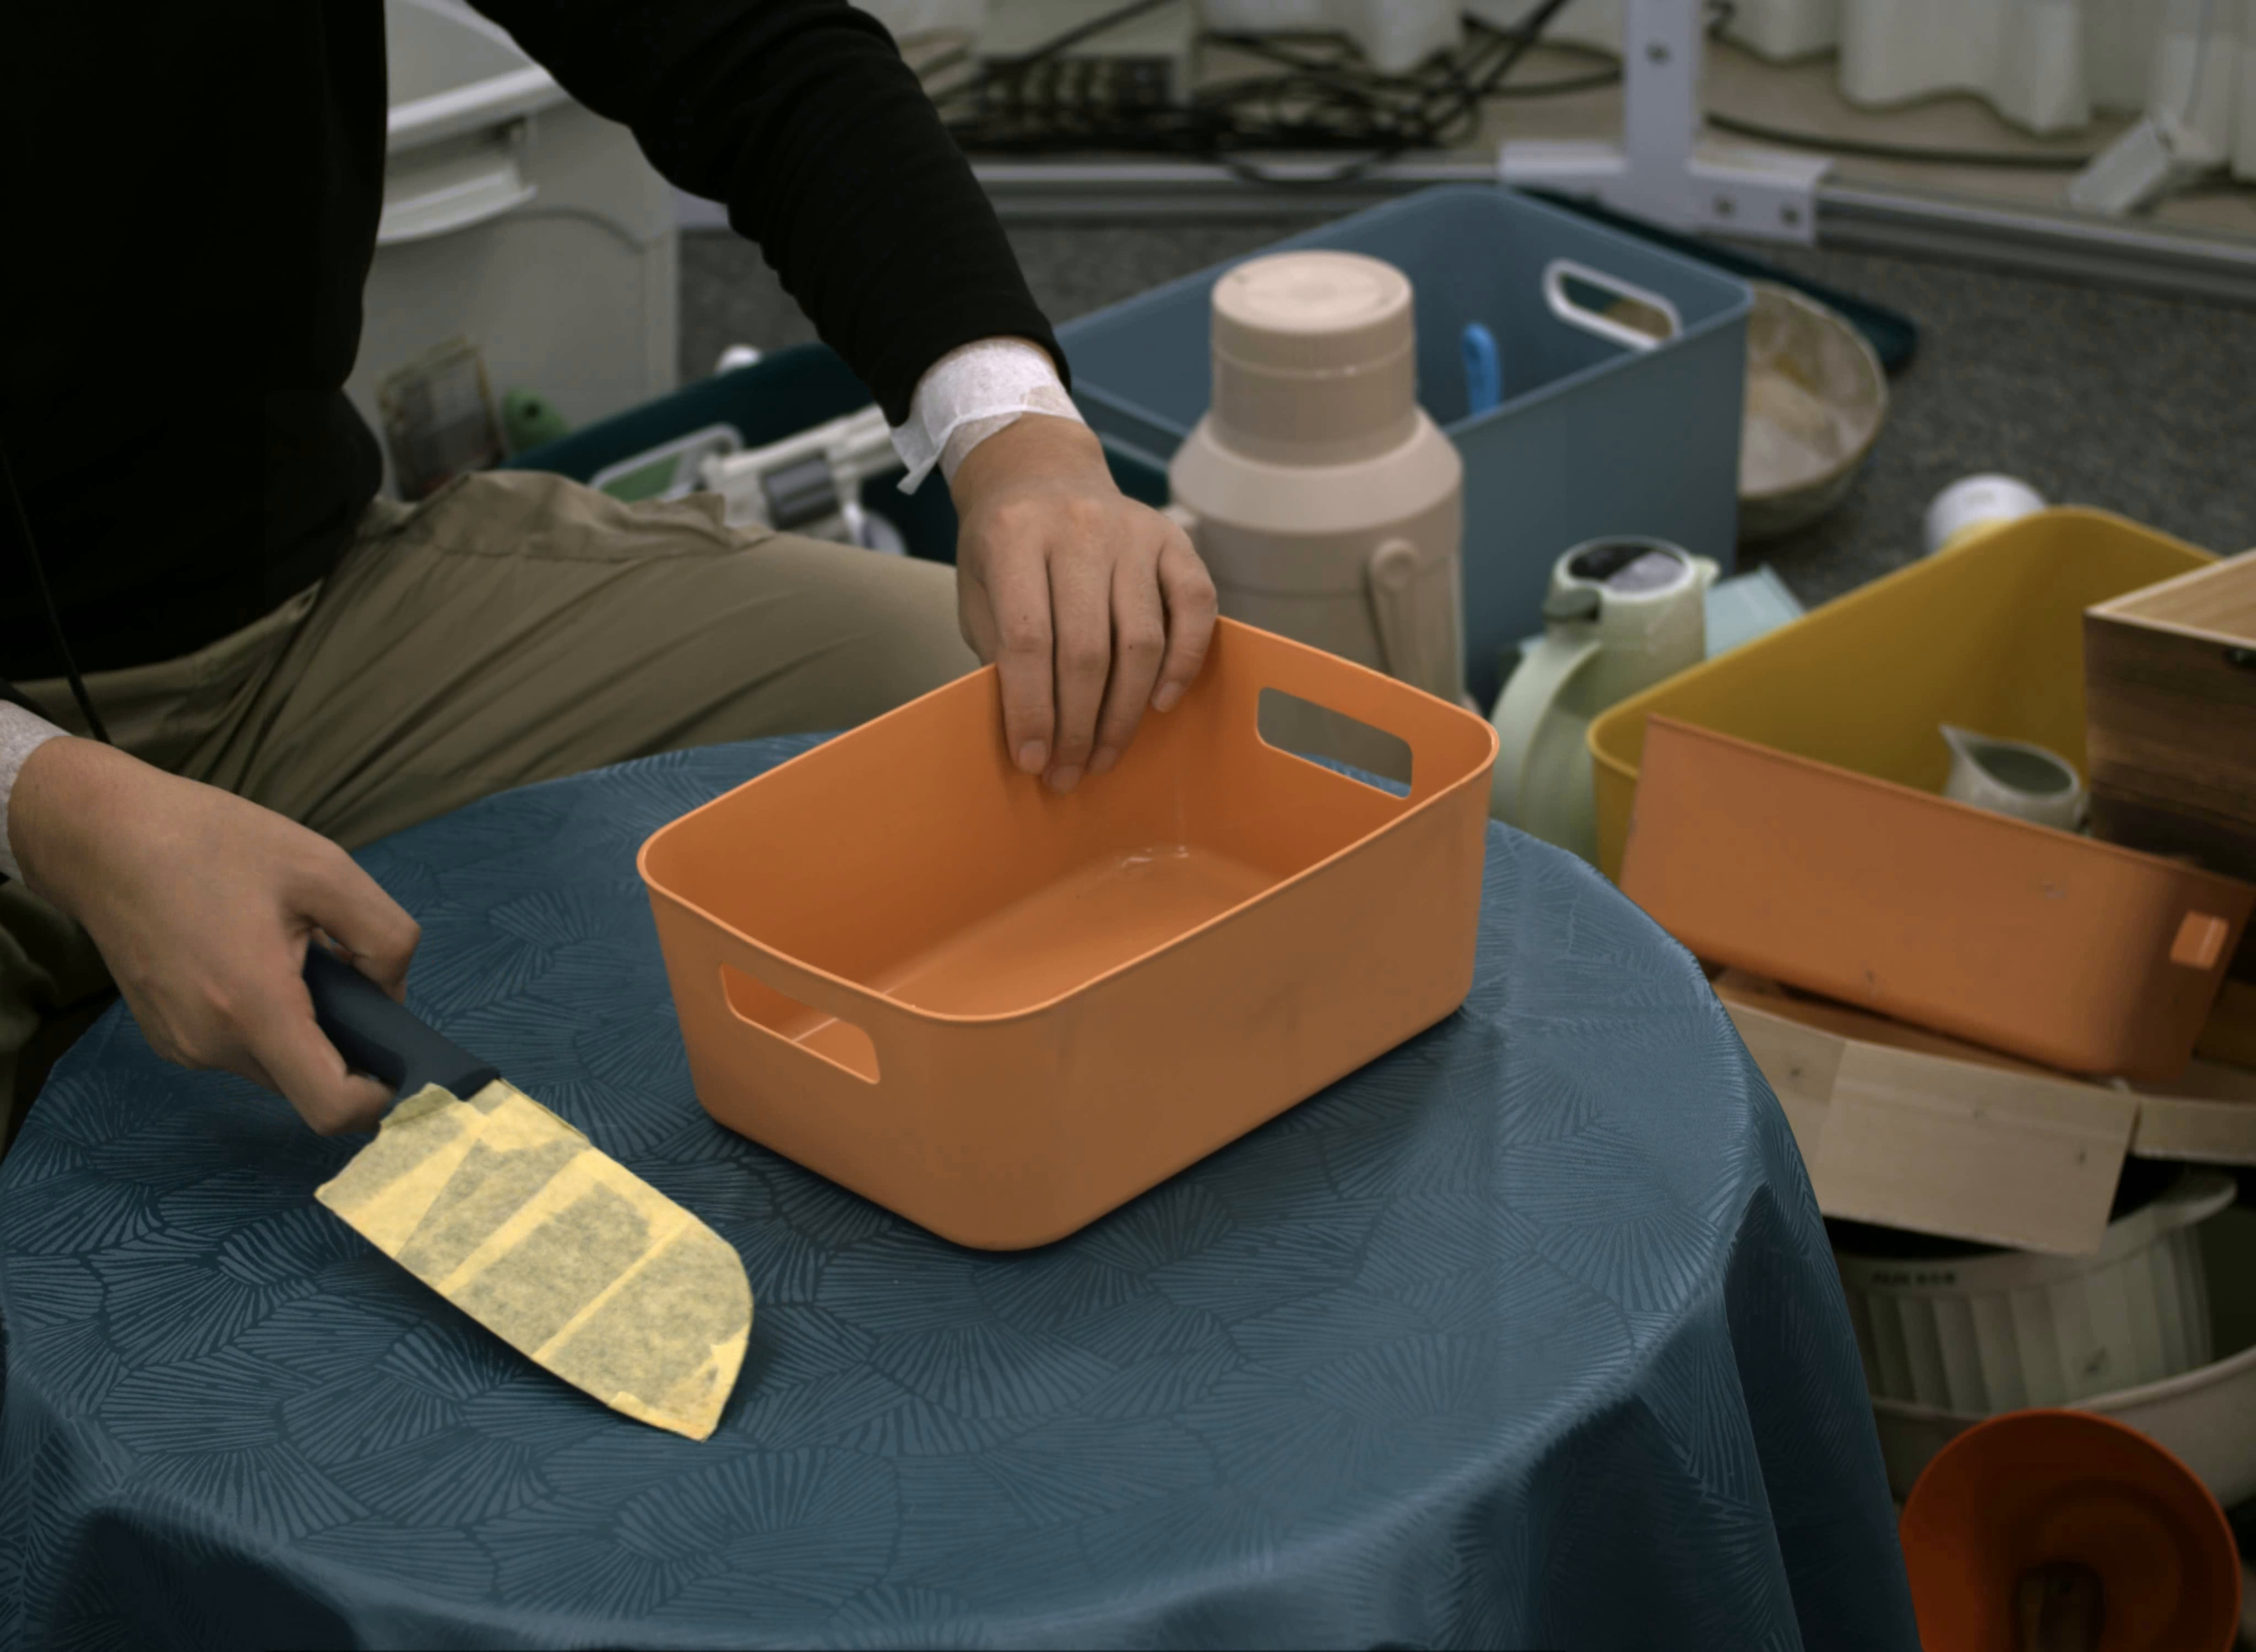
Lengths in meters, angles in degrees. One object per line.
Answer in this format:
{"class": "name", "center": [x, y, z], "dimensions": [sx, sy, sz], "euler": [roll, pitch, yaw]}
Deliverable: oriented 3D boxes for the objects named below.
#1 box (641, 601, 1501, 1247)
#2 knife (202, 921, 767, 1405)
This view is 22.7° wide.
{"class": "box", "center": [-0.016, 0.032, 1.925], "dimensions": [0.199, 0.101, 0.276], "euler": [23, 37, 39]}
{"class": "knife", "center": [-0.219, 0.110, 1.831], "dimensions": [0.082, 0.027, 0.290], "euler": [-35, 50, -27]}
